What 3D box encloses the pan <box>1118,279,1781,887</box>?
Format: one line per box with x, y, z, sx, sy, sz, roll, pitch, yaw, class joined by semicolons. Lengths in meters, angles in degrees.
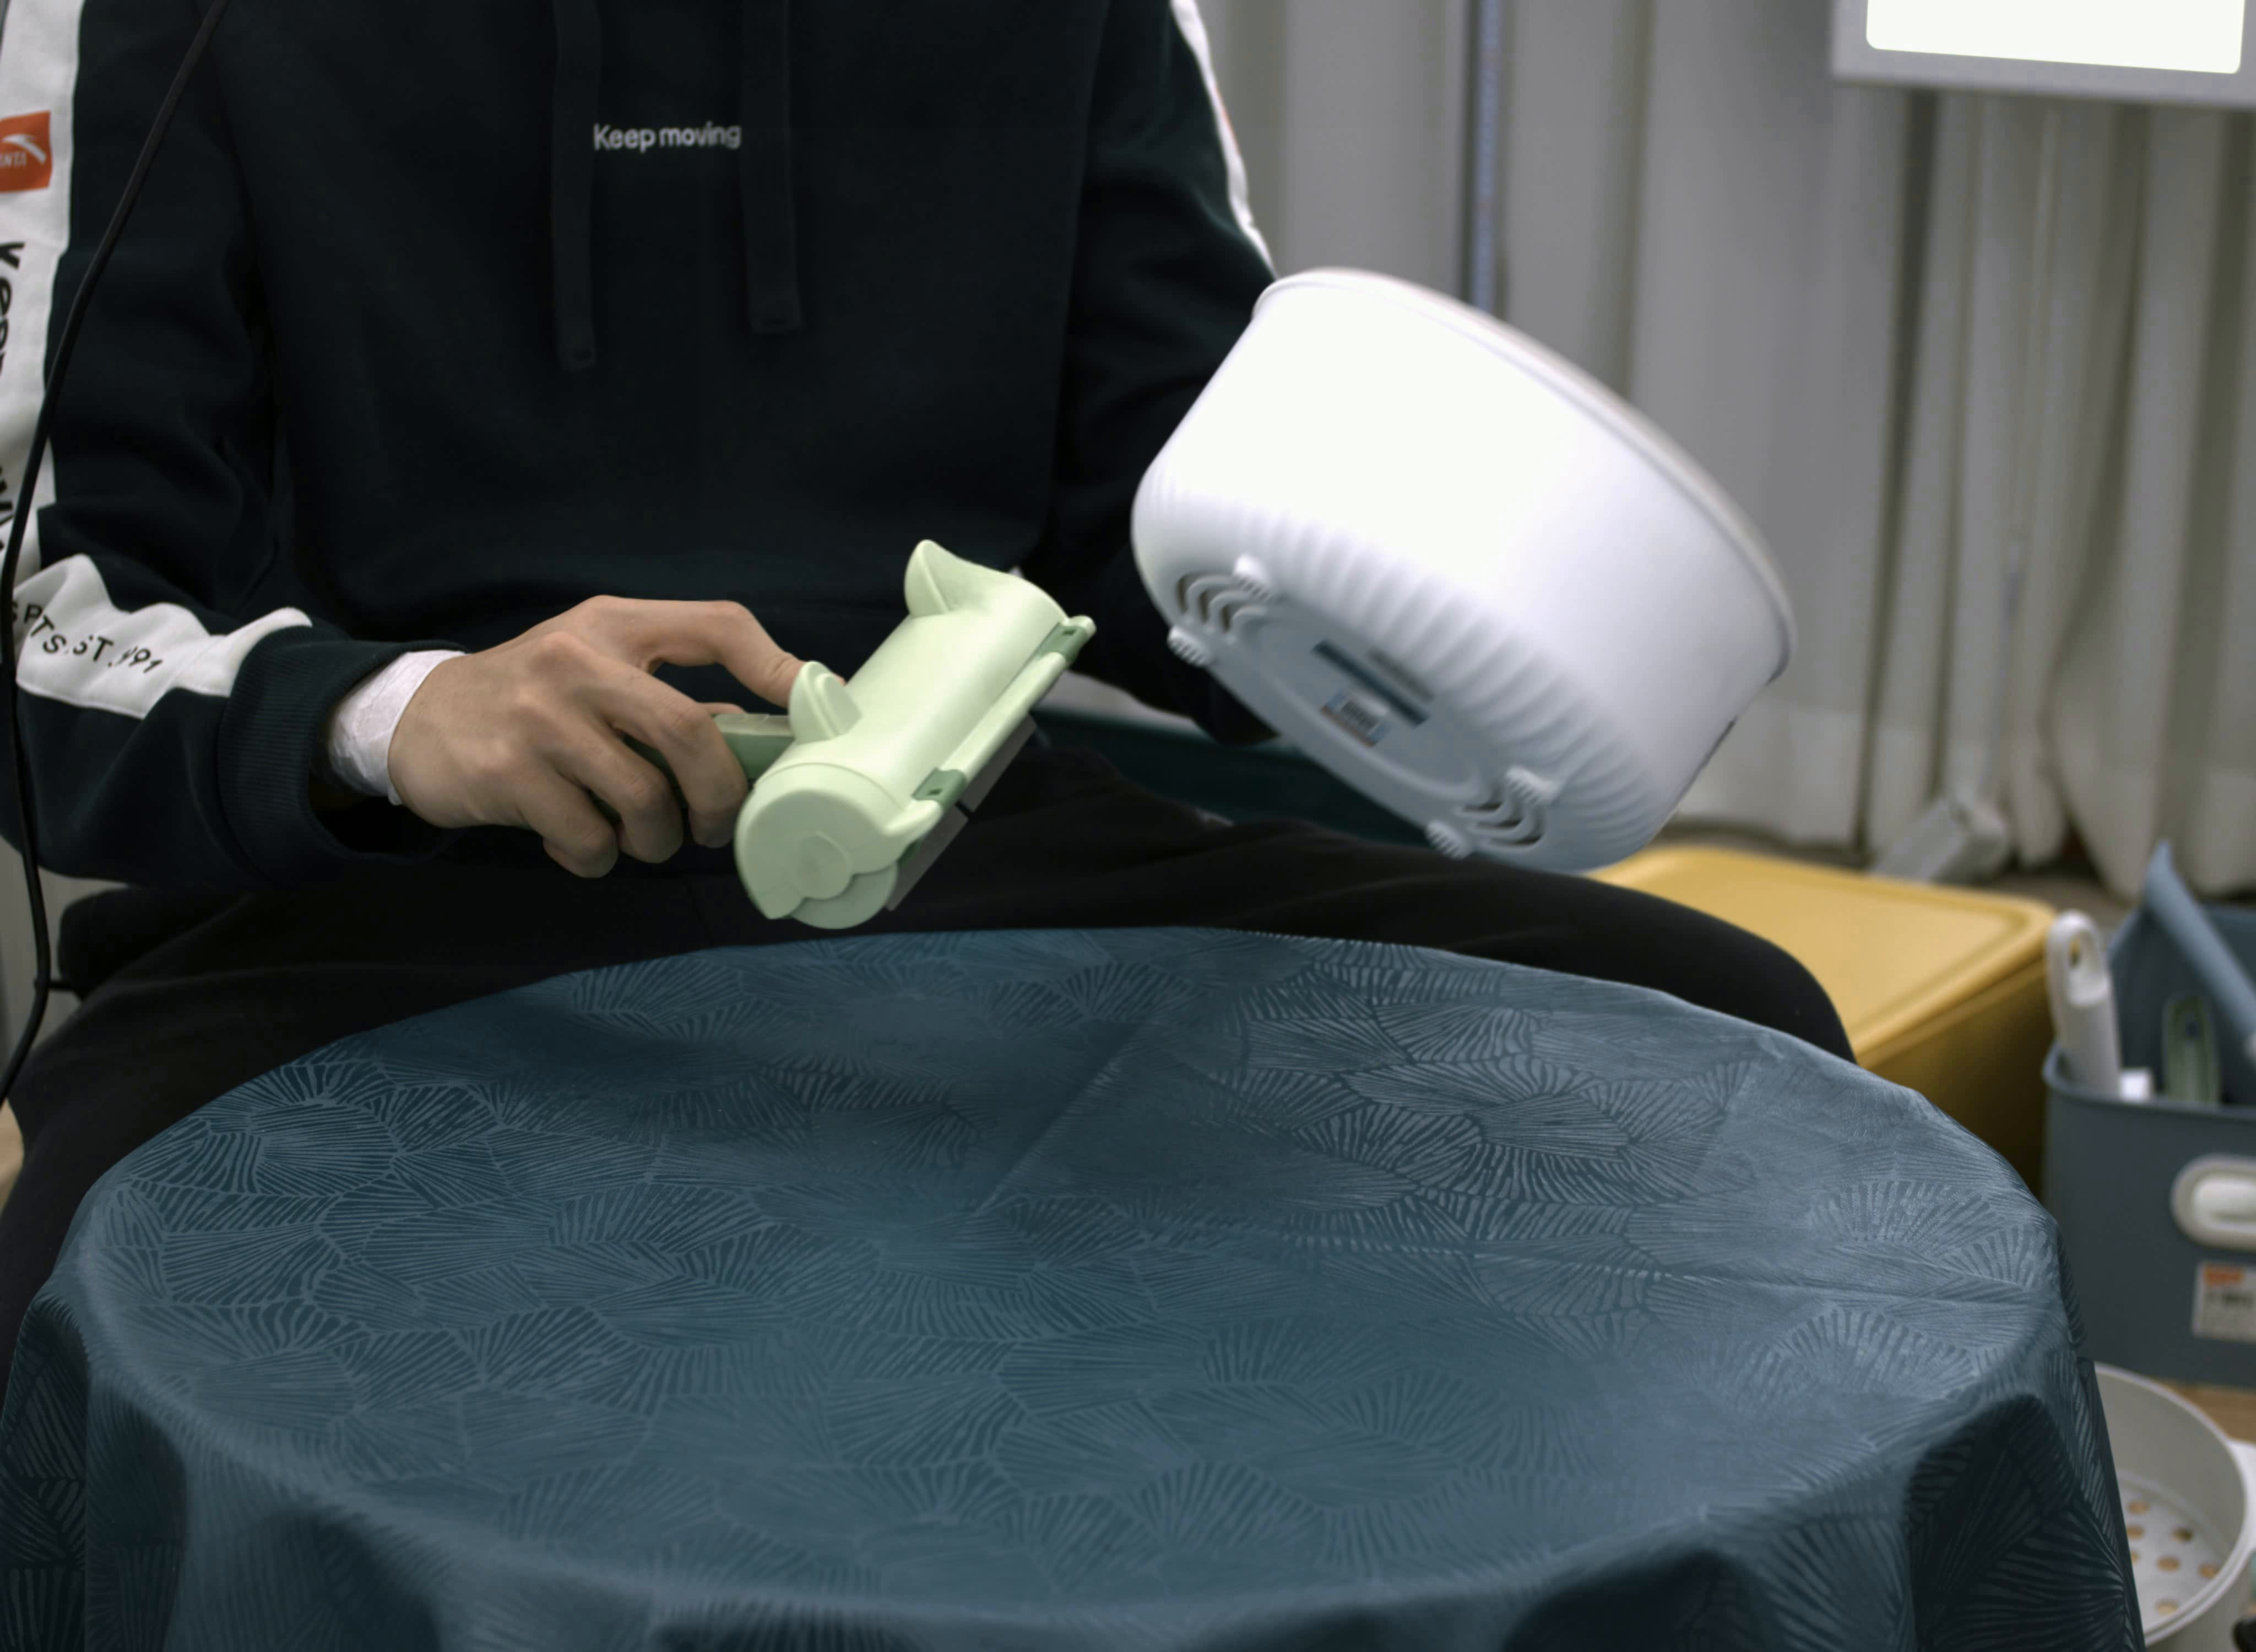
0.079;-0.054;1.702;0.201;0.102;0.354;36;-15;-3;pan

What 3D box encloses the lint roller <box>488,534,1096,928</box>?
-0.122;-0.038;1.682;0.182;0.083;0.198;4;23;14;lint roller
